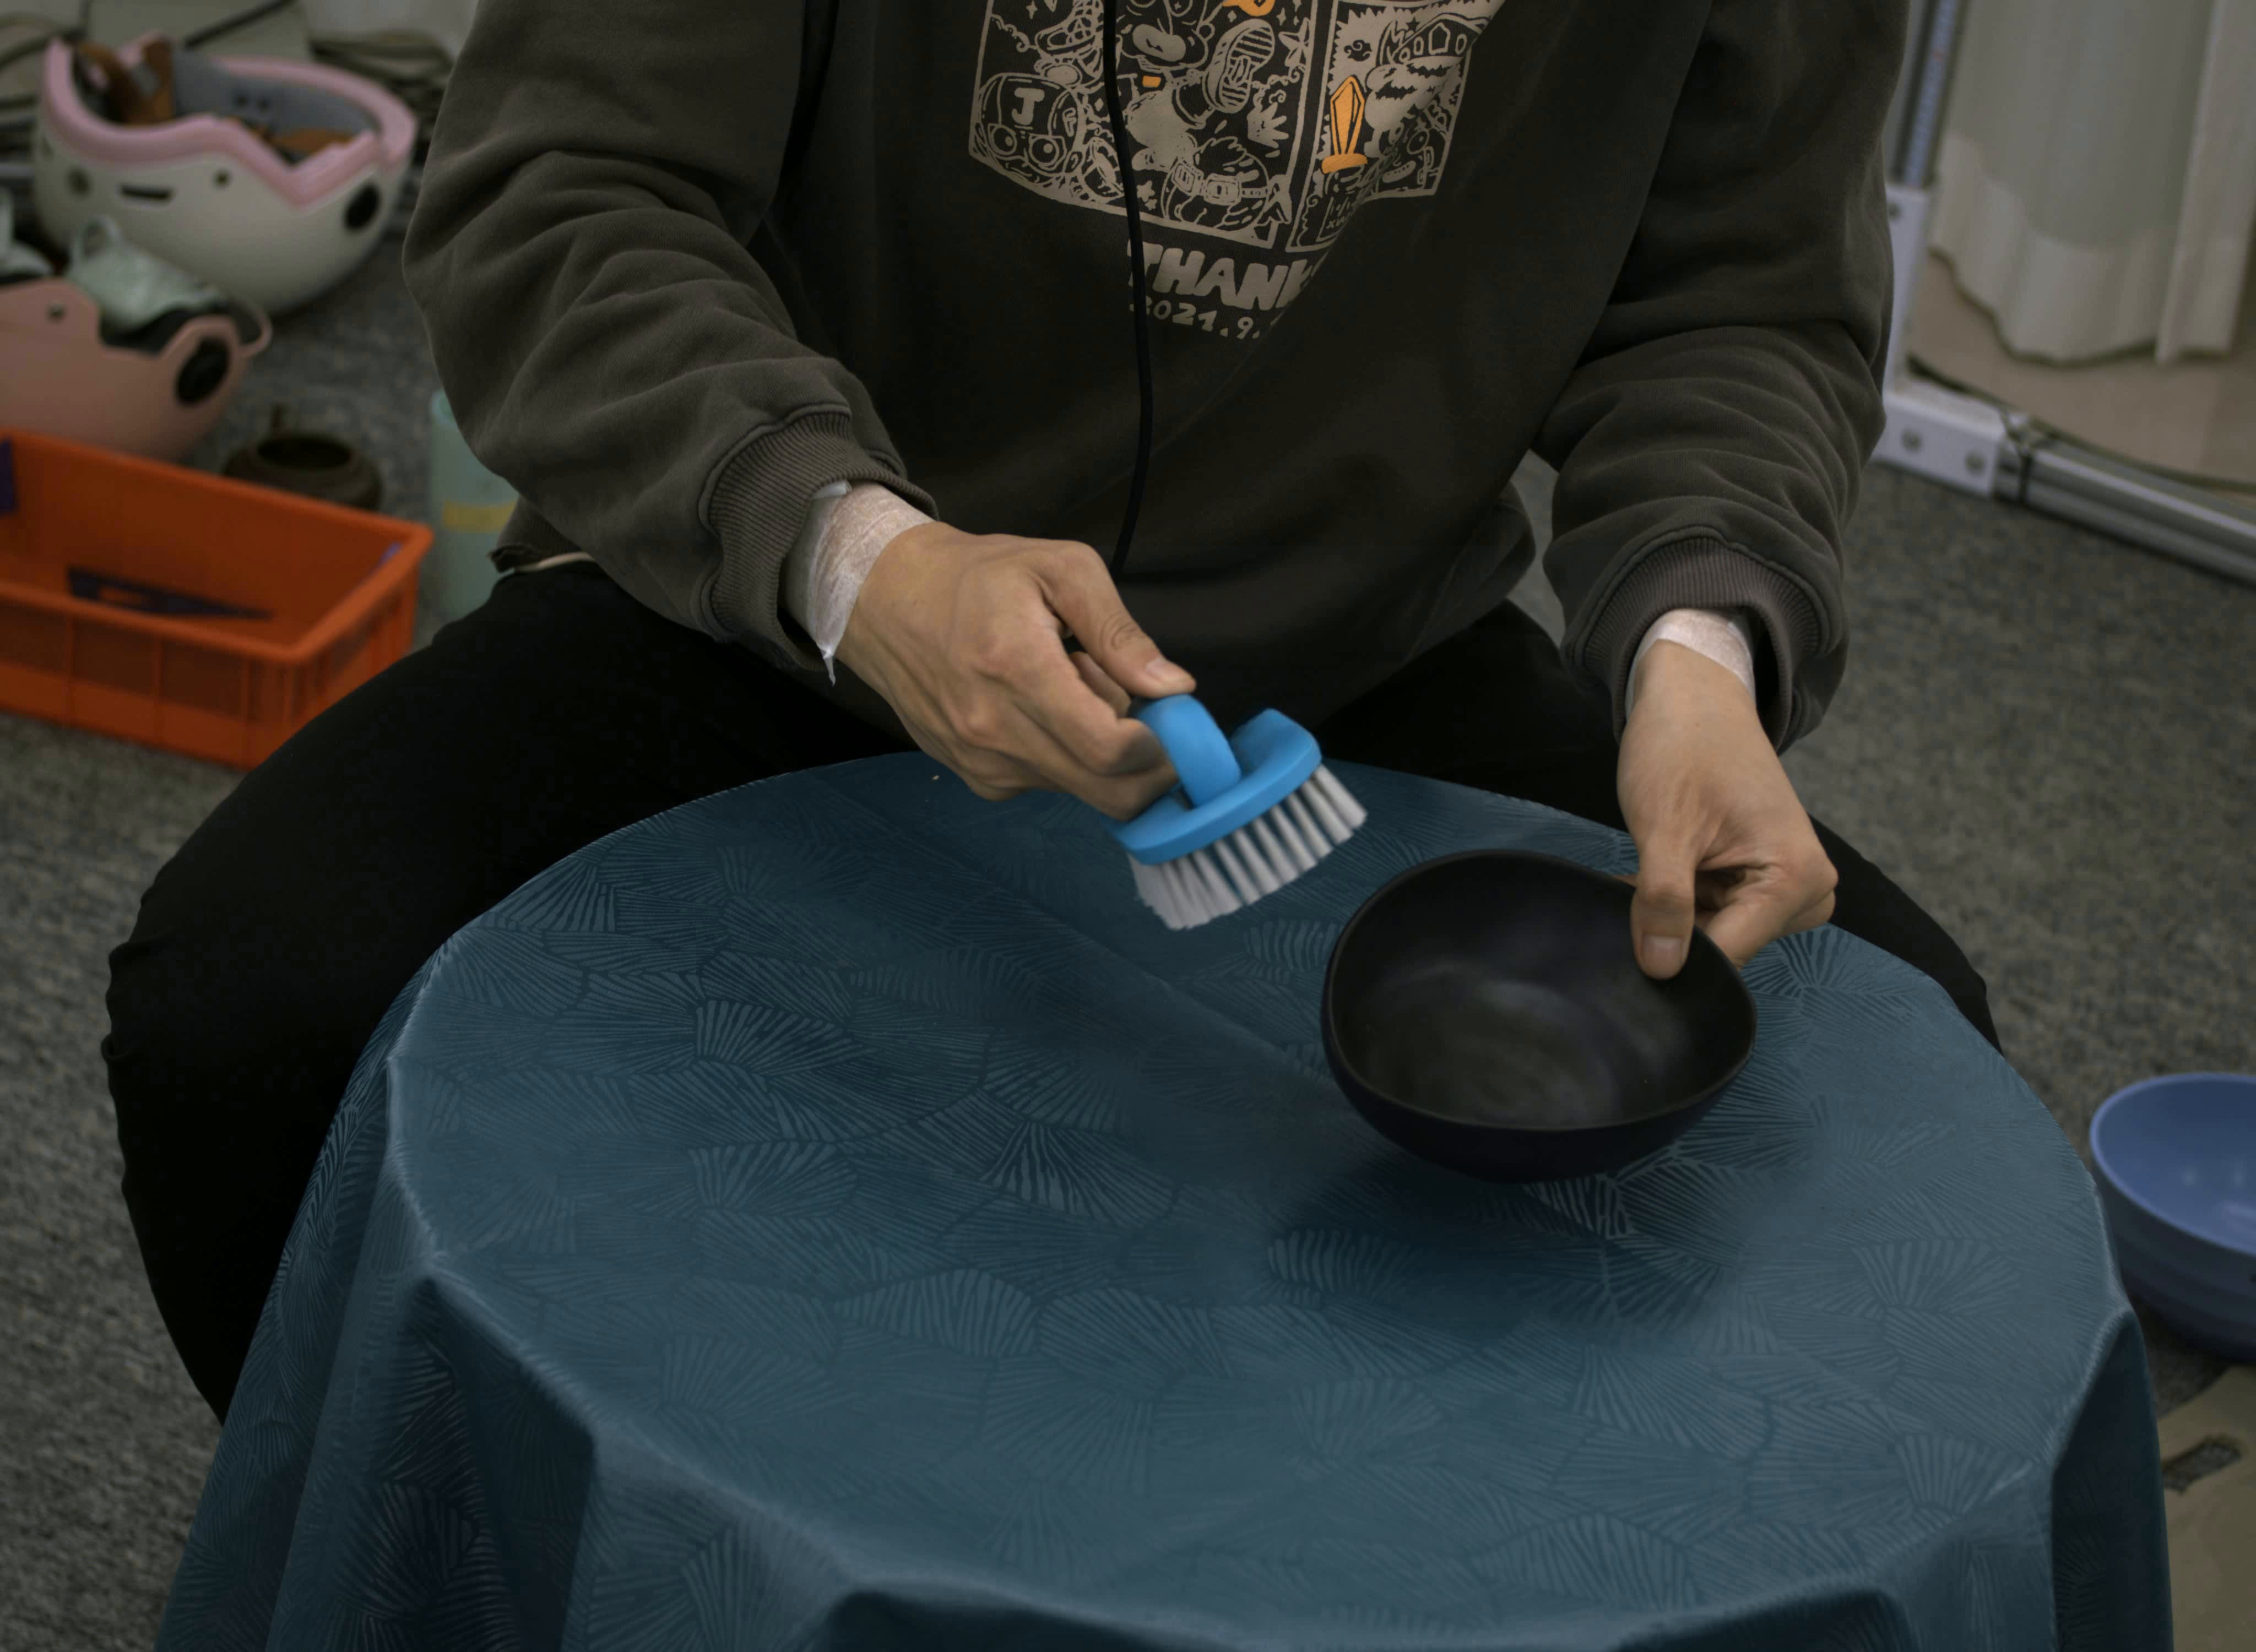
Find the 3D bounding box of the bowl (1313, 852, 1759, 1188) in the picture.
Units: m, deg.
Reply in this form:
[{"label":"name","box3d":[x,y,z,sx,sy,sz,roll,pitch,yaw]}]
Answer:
[{"label":"bowl","box3d":[0.135,0.080,1.824,0.169,0.066,0.138,-21,49,-39]}]

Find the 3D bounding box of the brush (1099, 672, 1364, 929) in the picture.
[{"label":"brush","box3d":[0.026,-0.019,1.801,0.084,0.063,0.142,-34,10,1]}]
